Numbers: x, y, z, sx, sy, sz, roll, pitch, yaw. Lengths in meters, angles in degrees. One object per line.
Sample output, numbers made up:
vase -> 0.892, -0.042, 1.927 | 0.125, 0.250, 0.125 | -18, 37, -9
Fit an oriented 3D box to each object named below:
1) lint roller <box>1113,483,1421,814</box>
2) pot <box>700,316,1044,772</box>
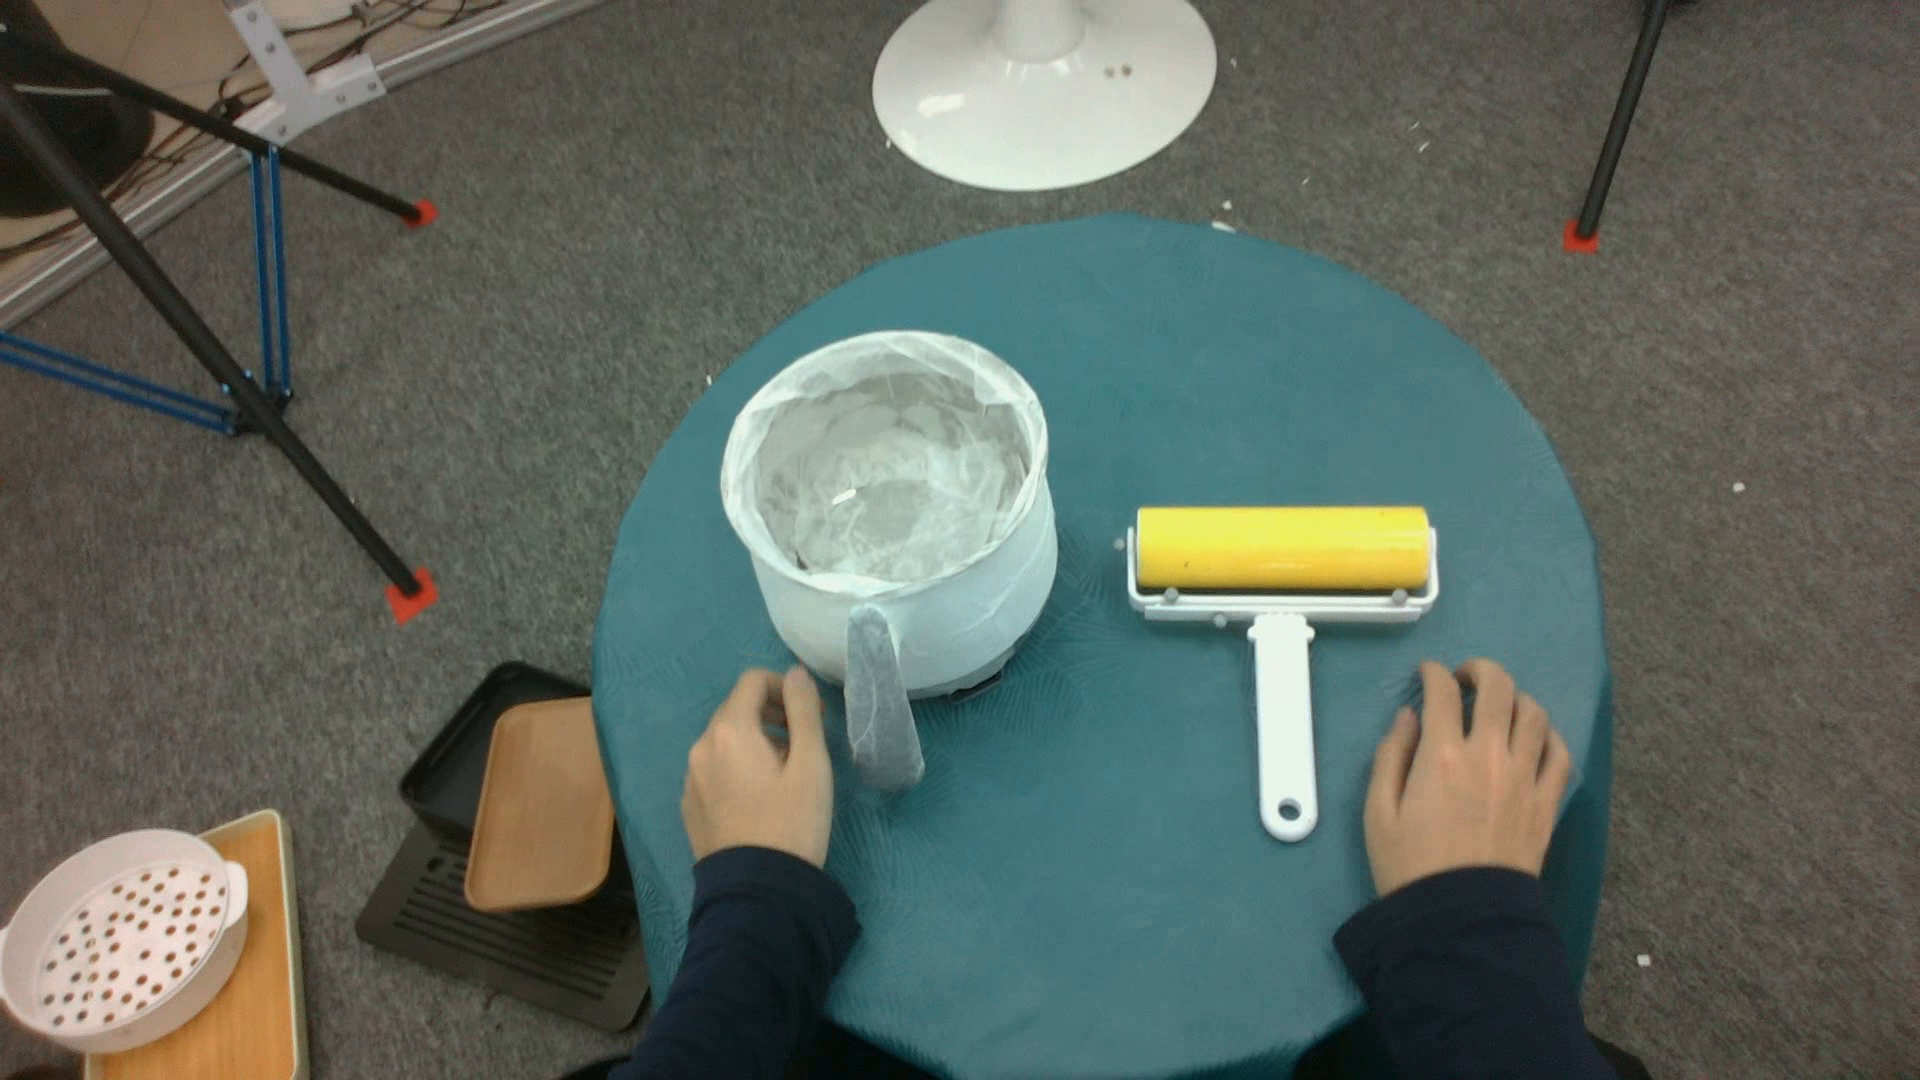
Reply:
lint roller -> 0.174, 0.053, 0.763 | 0.174, 0.051, 0.193 | -2, 54, 7
pot -> -0.043, 0.004, 0.766 | 0.178, 0.136, 0.235 | -4, 53, 6
